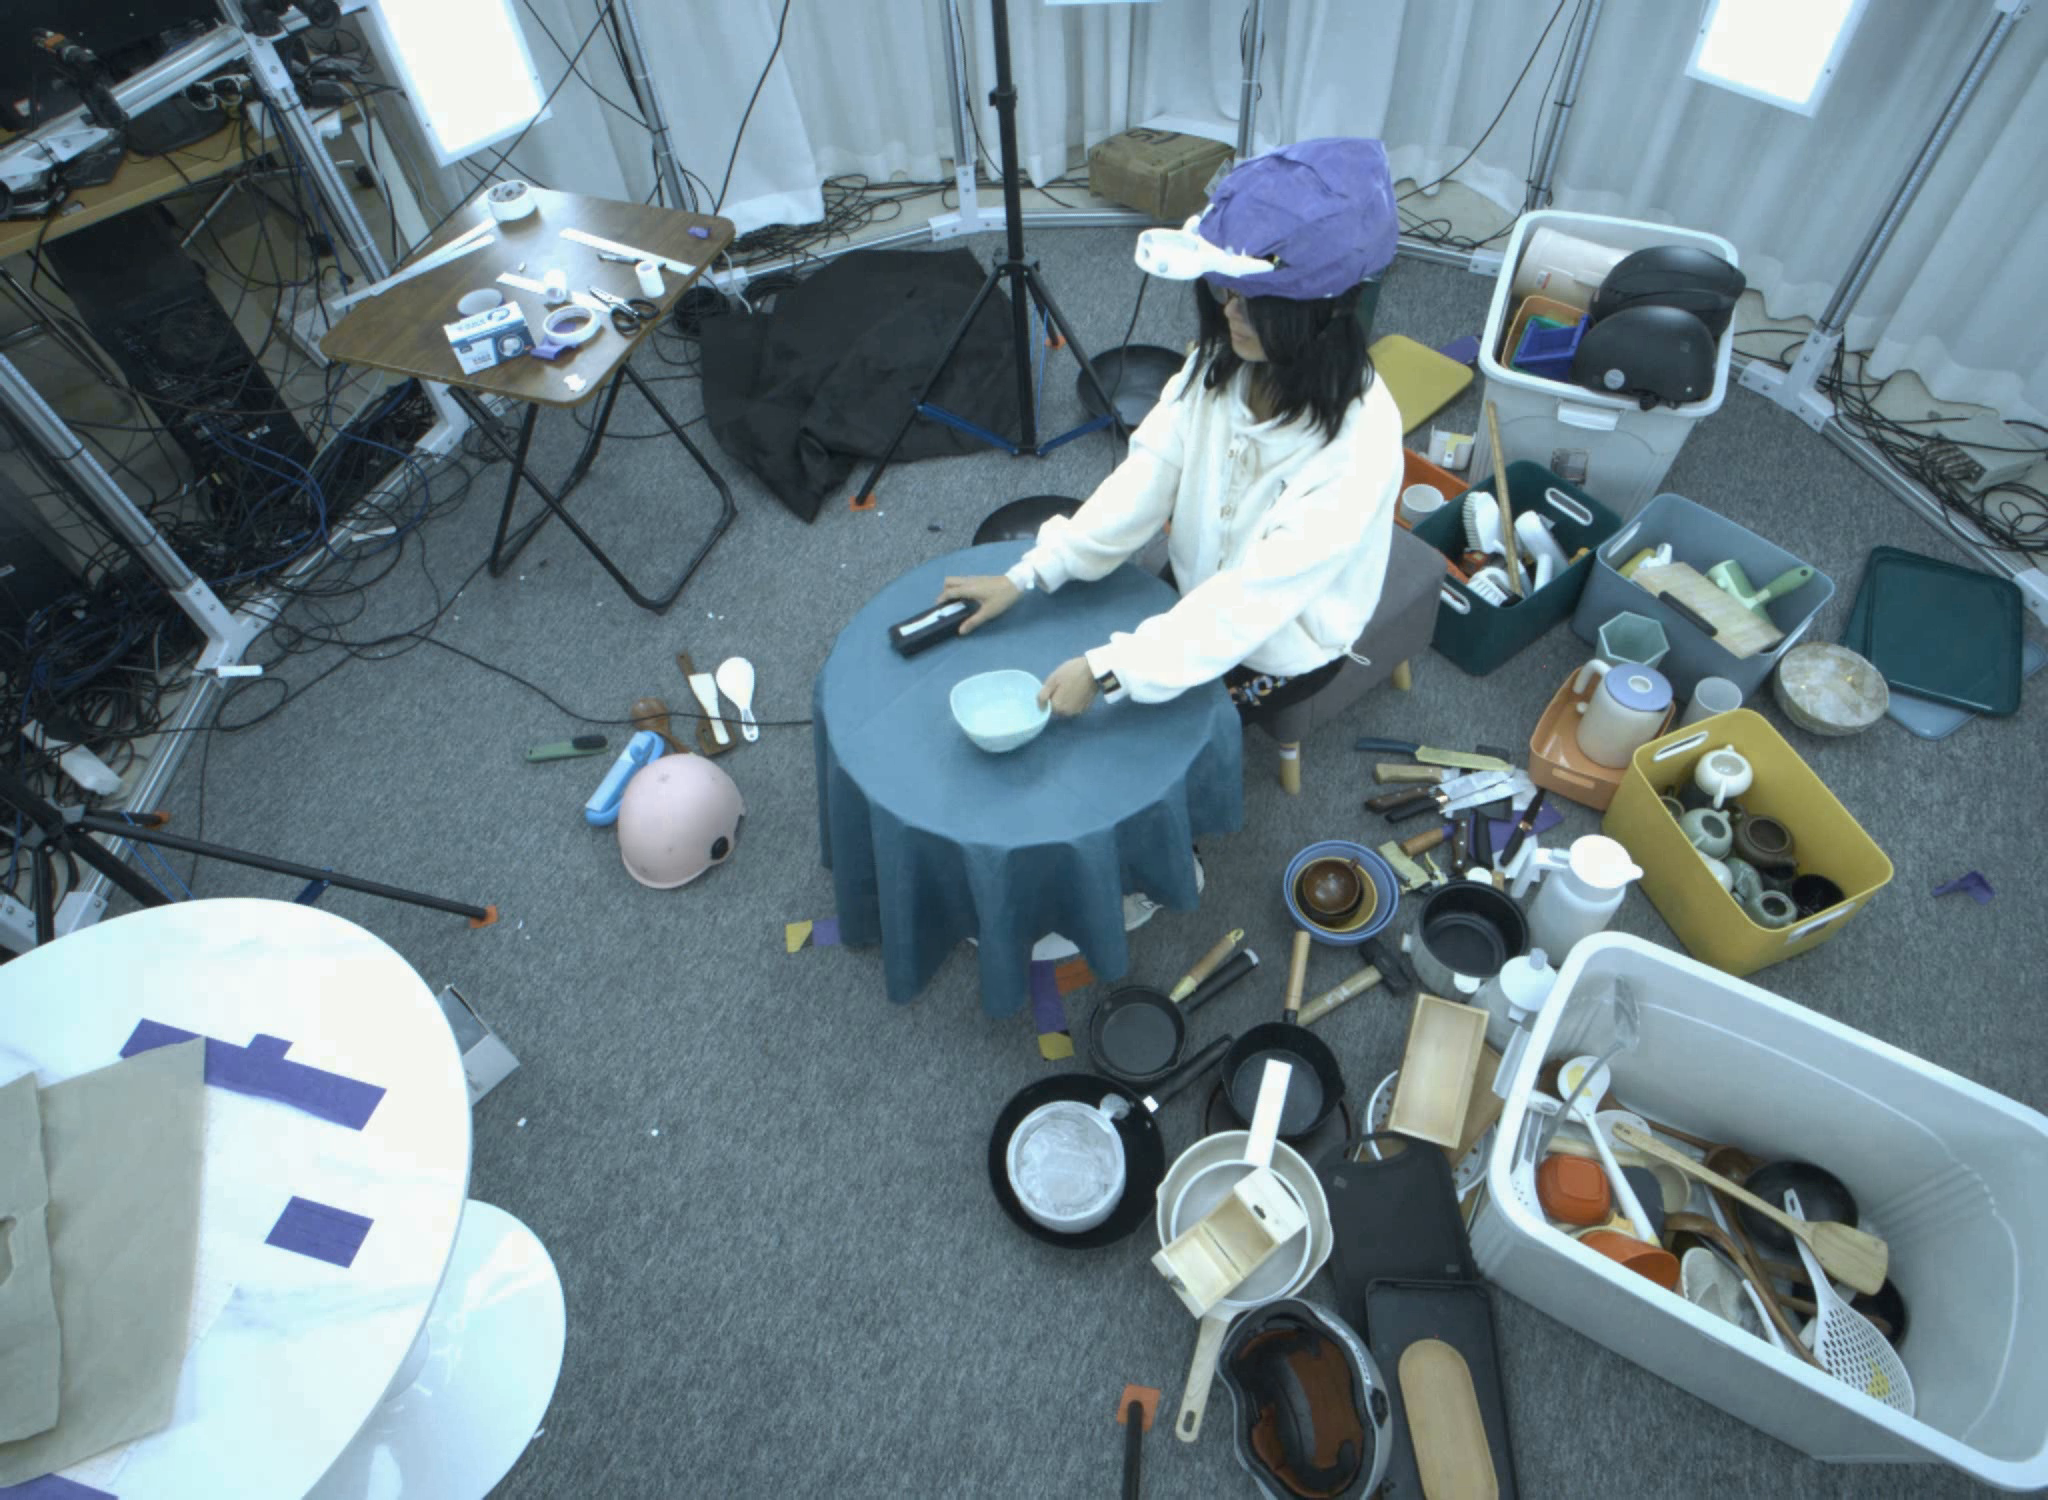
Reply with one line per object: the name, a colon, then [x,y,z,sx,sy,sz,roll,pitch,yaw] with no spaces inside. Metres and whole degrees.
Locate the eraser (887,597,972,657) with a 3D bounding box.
eraser: [-0.147,-0.193,1.912,0.126,0.031,0.052,-27,56,-19]

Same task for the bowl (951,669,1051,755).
bowl: [-0.032,-0.046,1.774,0.151,0.059,0.150,0,48,2]
